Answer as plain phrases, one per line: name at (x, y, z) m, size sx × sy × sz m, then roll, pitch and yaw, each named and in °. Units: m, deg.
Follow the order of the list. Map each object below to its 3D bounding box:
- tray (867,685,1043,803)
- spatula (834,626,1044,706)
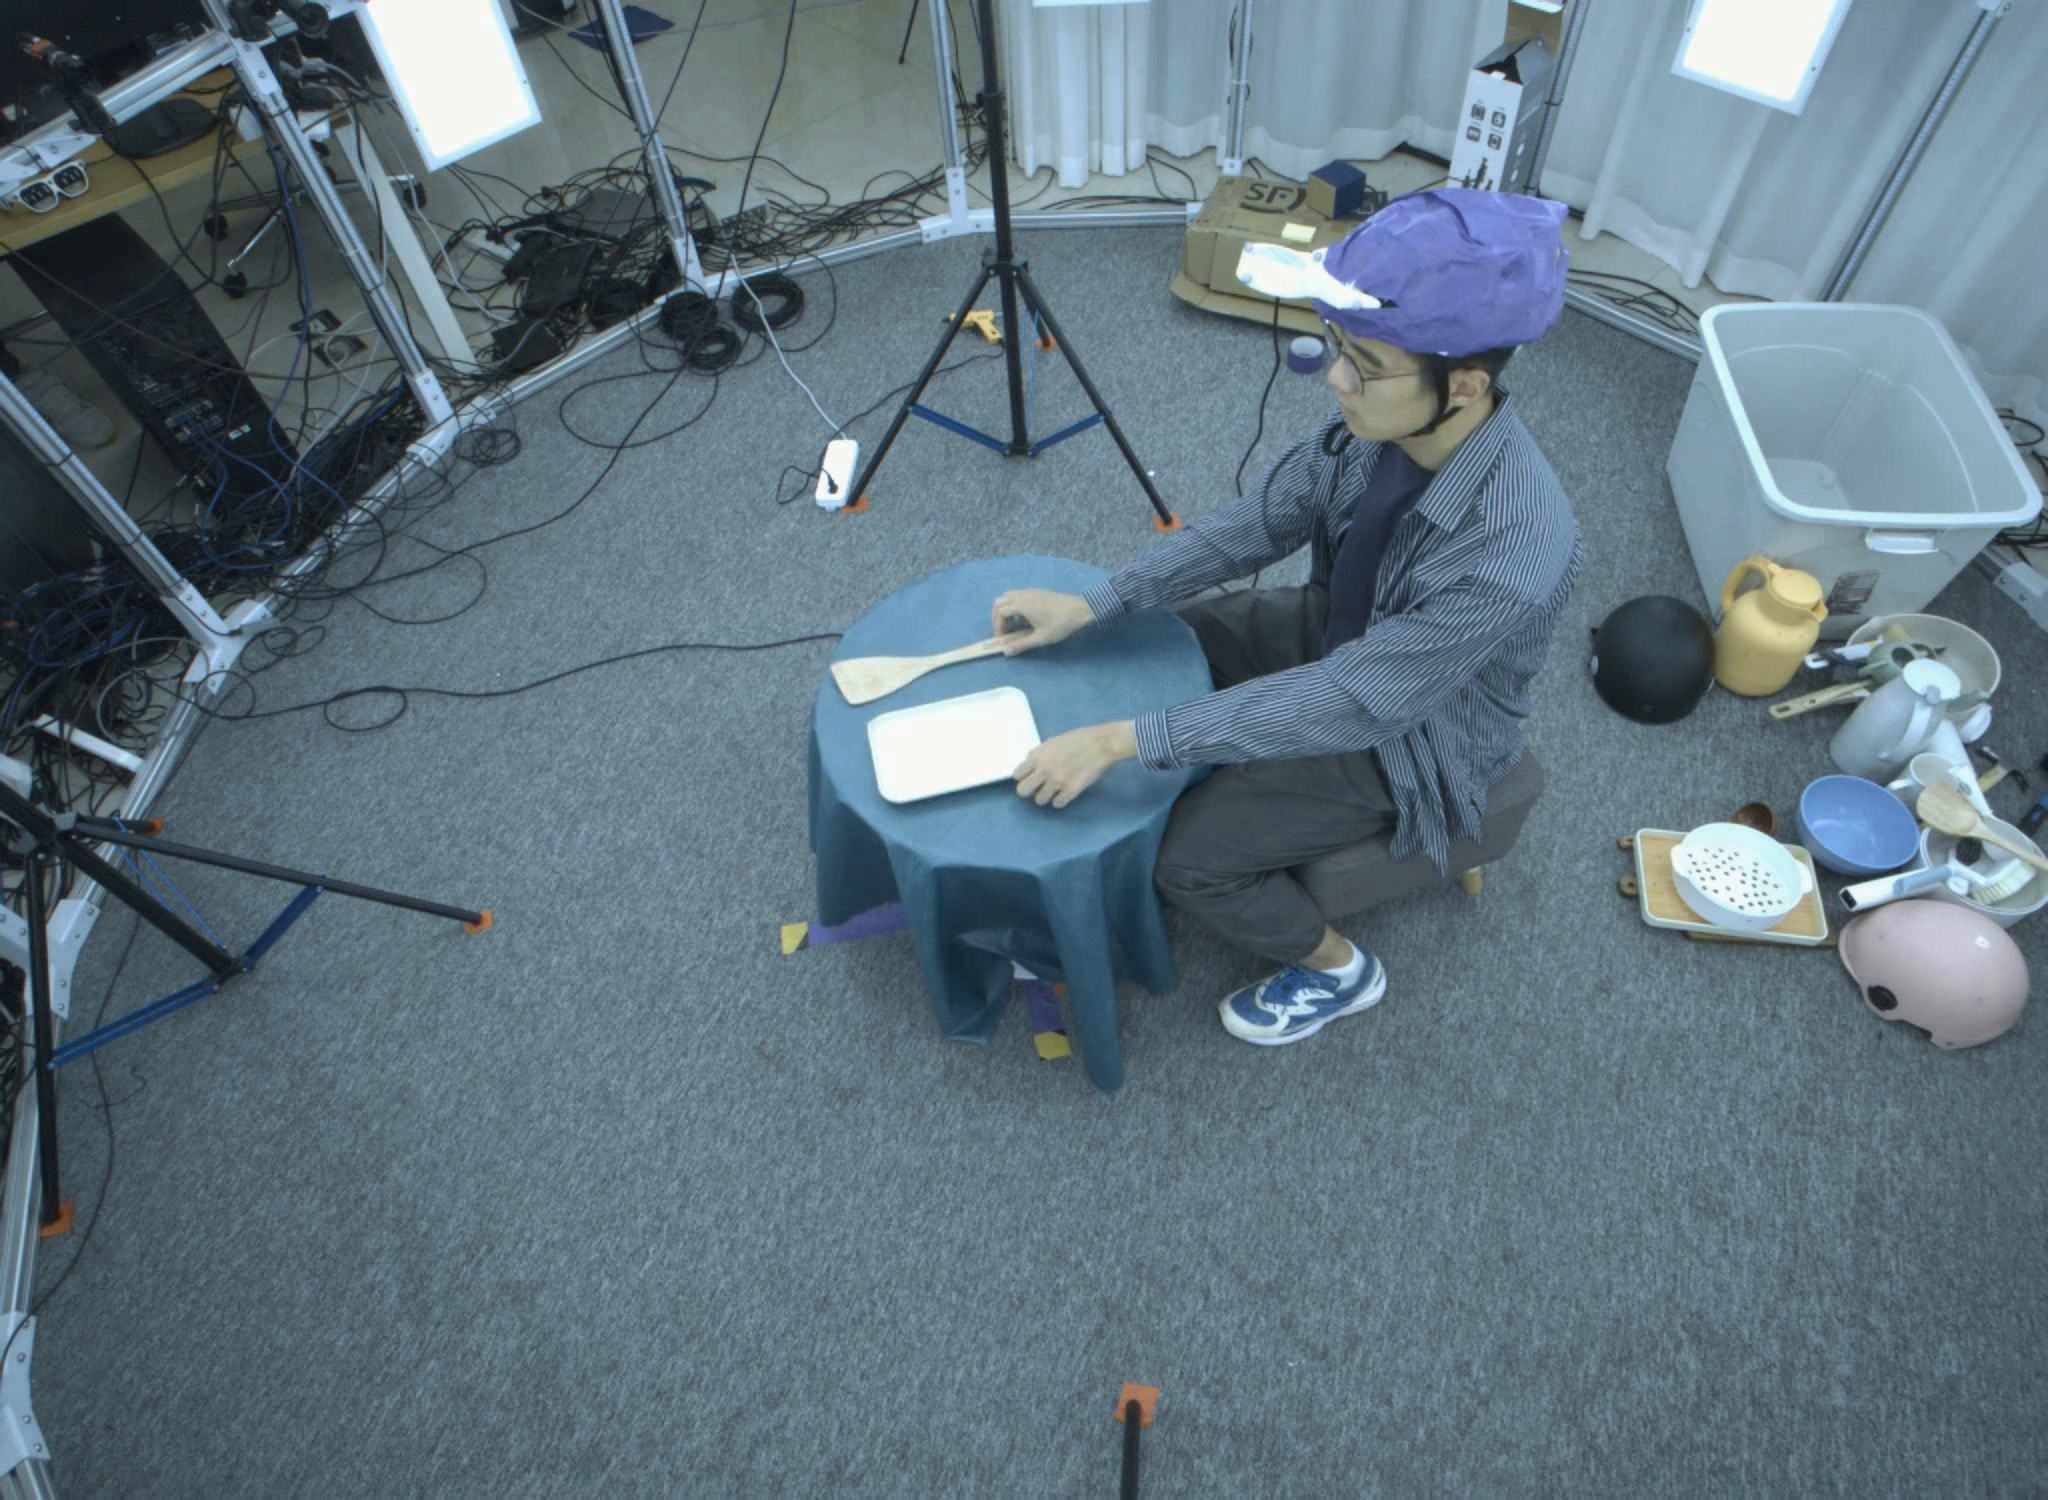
tray at (-0.101, -0.008, 1.784) m, size 0.241 × 0.018 × 0.168 m, roll -13°, pitch 52°, yaw -7°
spatula at (-0.126, -0.139, 1.881) m, size 0.329 × 0.016 × 0.079 m, roll -17°, pitch 66°, yaw -9°
